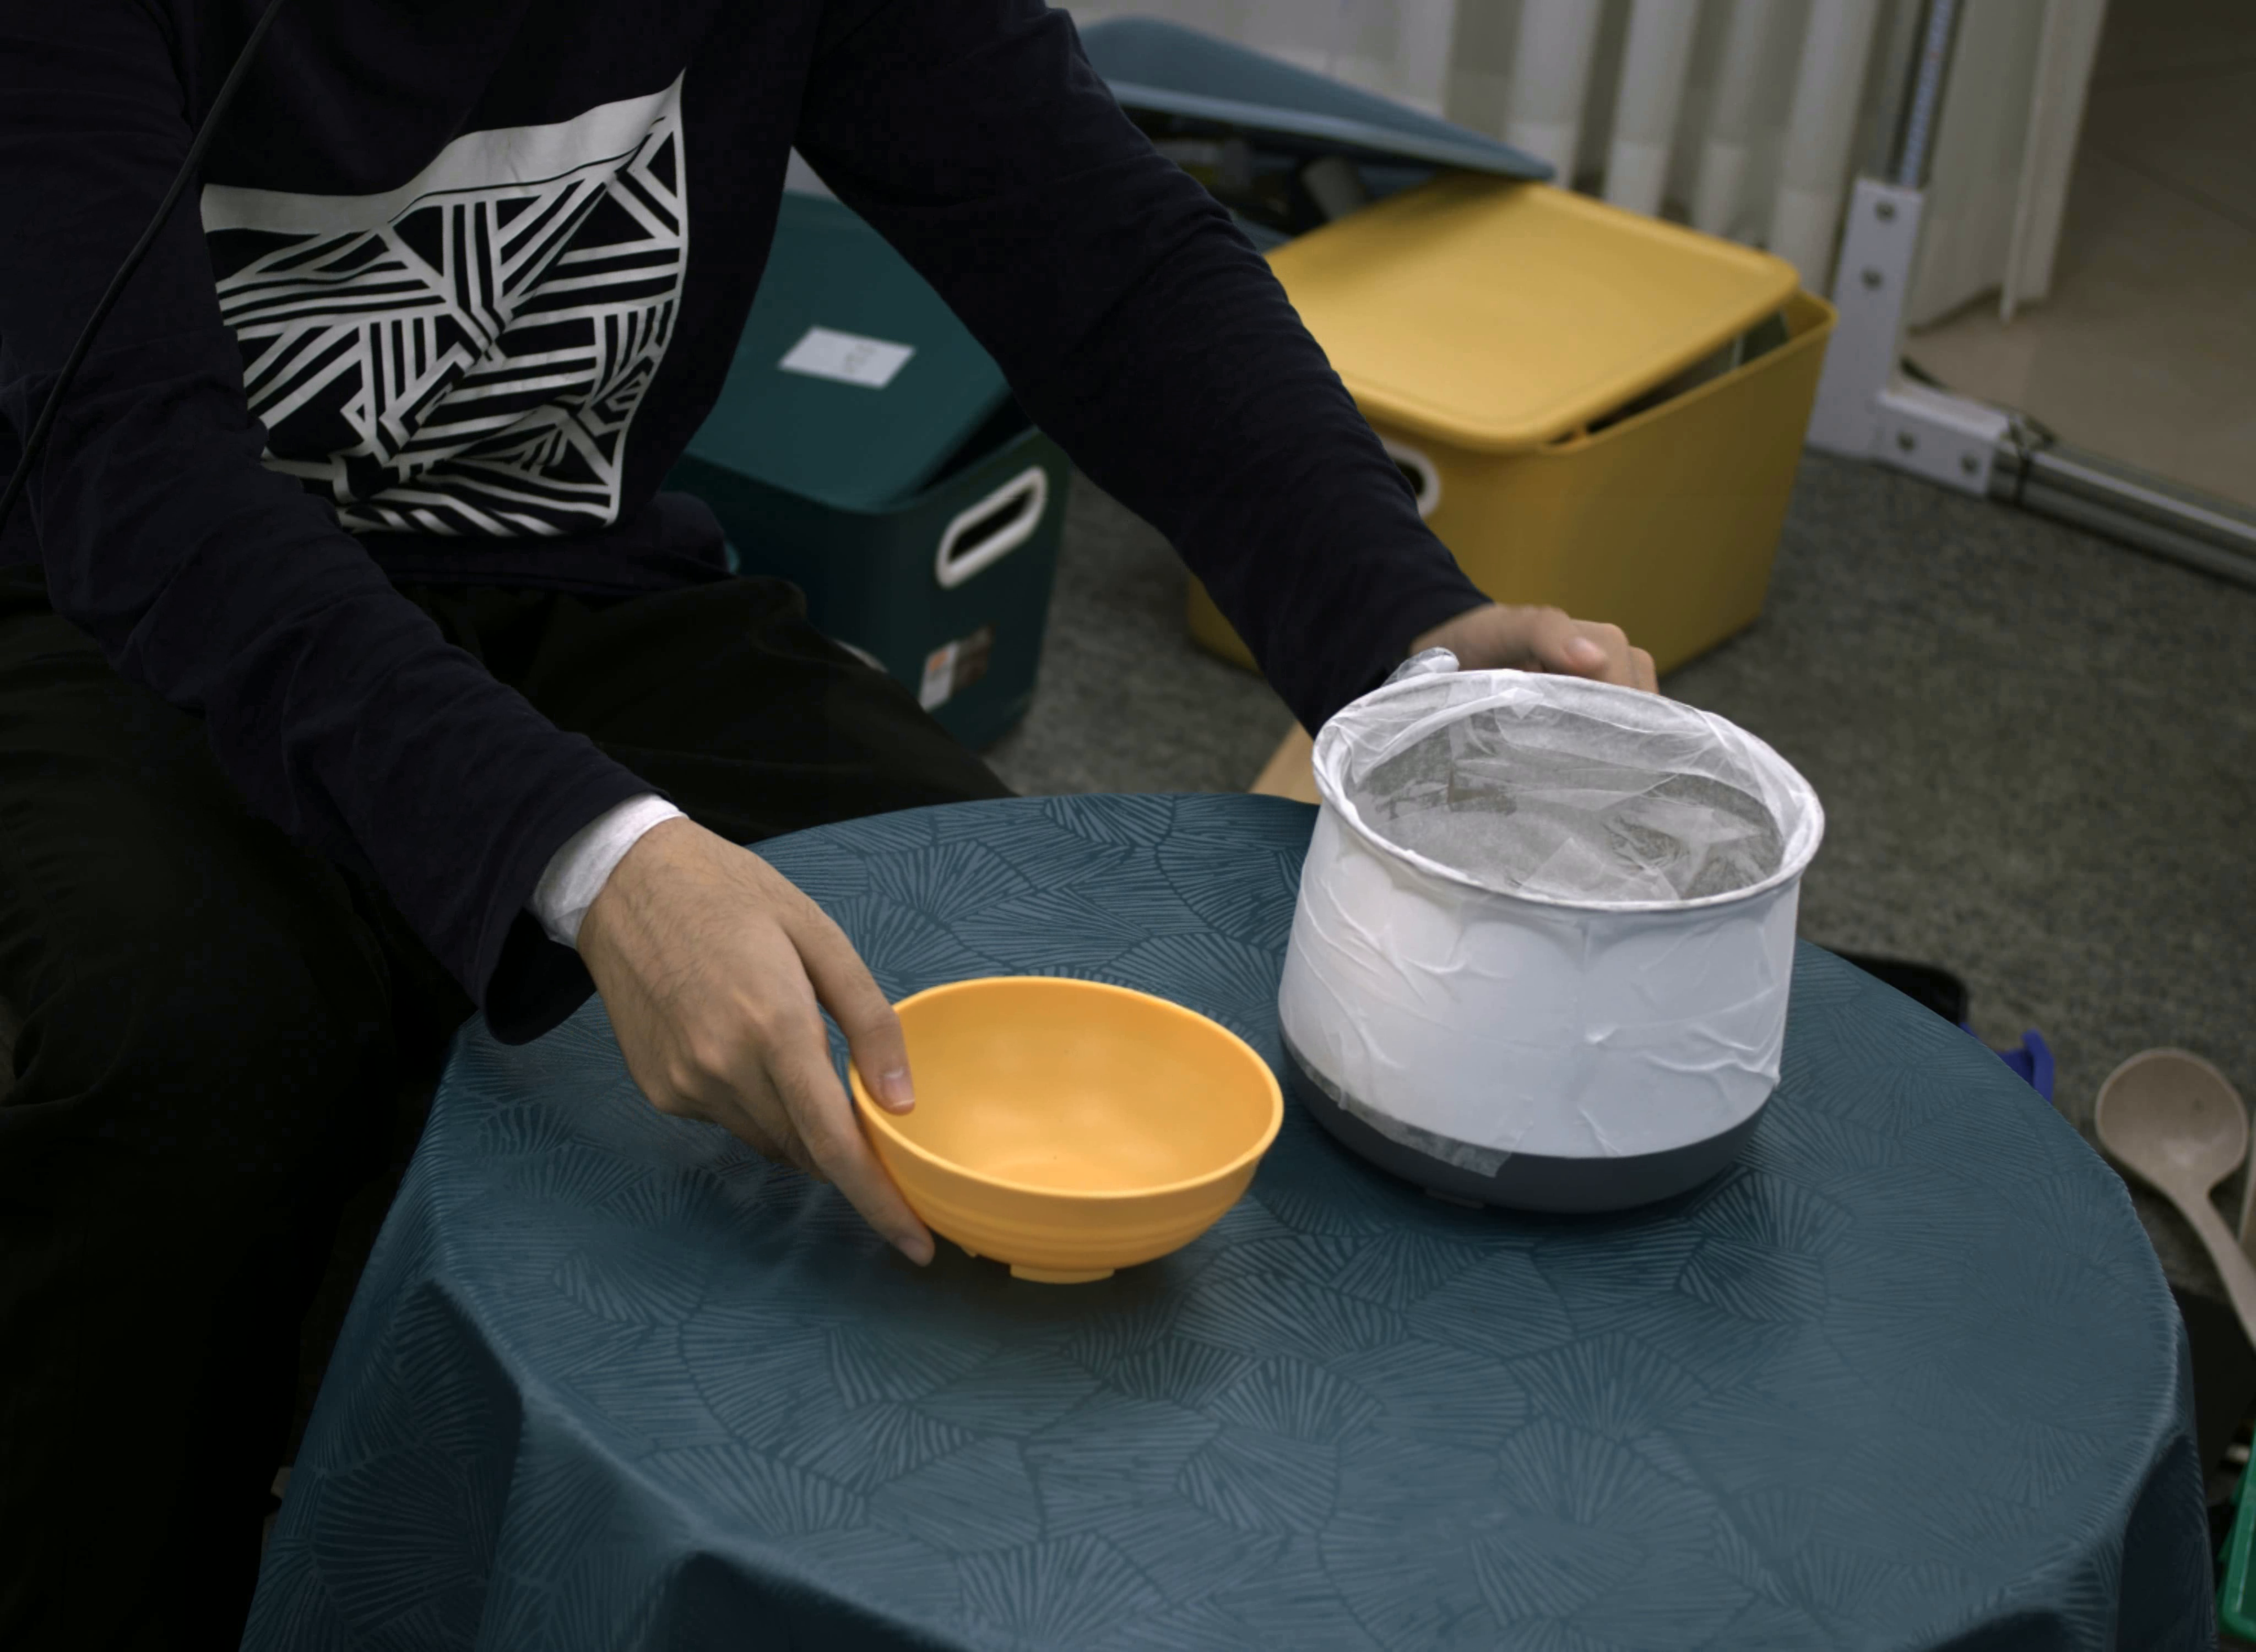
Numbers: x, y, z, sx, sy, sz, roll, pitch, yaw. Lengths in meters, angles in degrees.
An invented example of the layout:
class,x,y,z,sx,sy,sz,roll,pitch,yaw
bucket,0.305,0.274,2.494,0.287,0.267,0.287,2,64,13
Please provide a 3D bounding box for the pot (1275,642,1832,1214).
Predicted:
class,x,y,z,sx,sy,sz,roll,pitch,yaw
pot,0.132,0.029,1.870,0.177,0.136,0.236,-4,29,-26

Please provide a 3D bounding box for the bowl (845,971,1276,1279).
class,x,y,z,sx,sy,sz,roll,pitch,yaw
bowl,-0.026,0.108,1.763,0.145,0.060,0.146,6,26,-4
